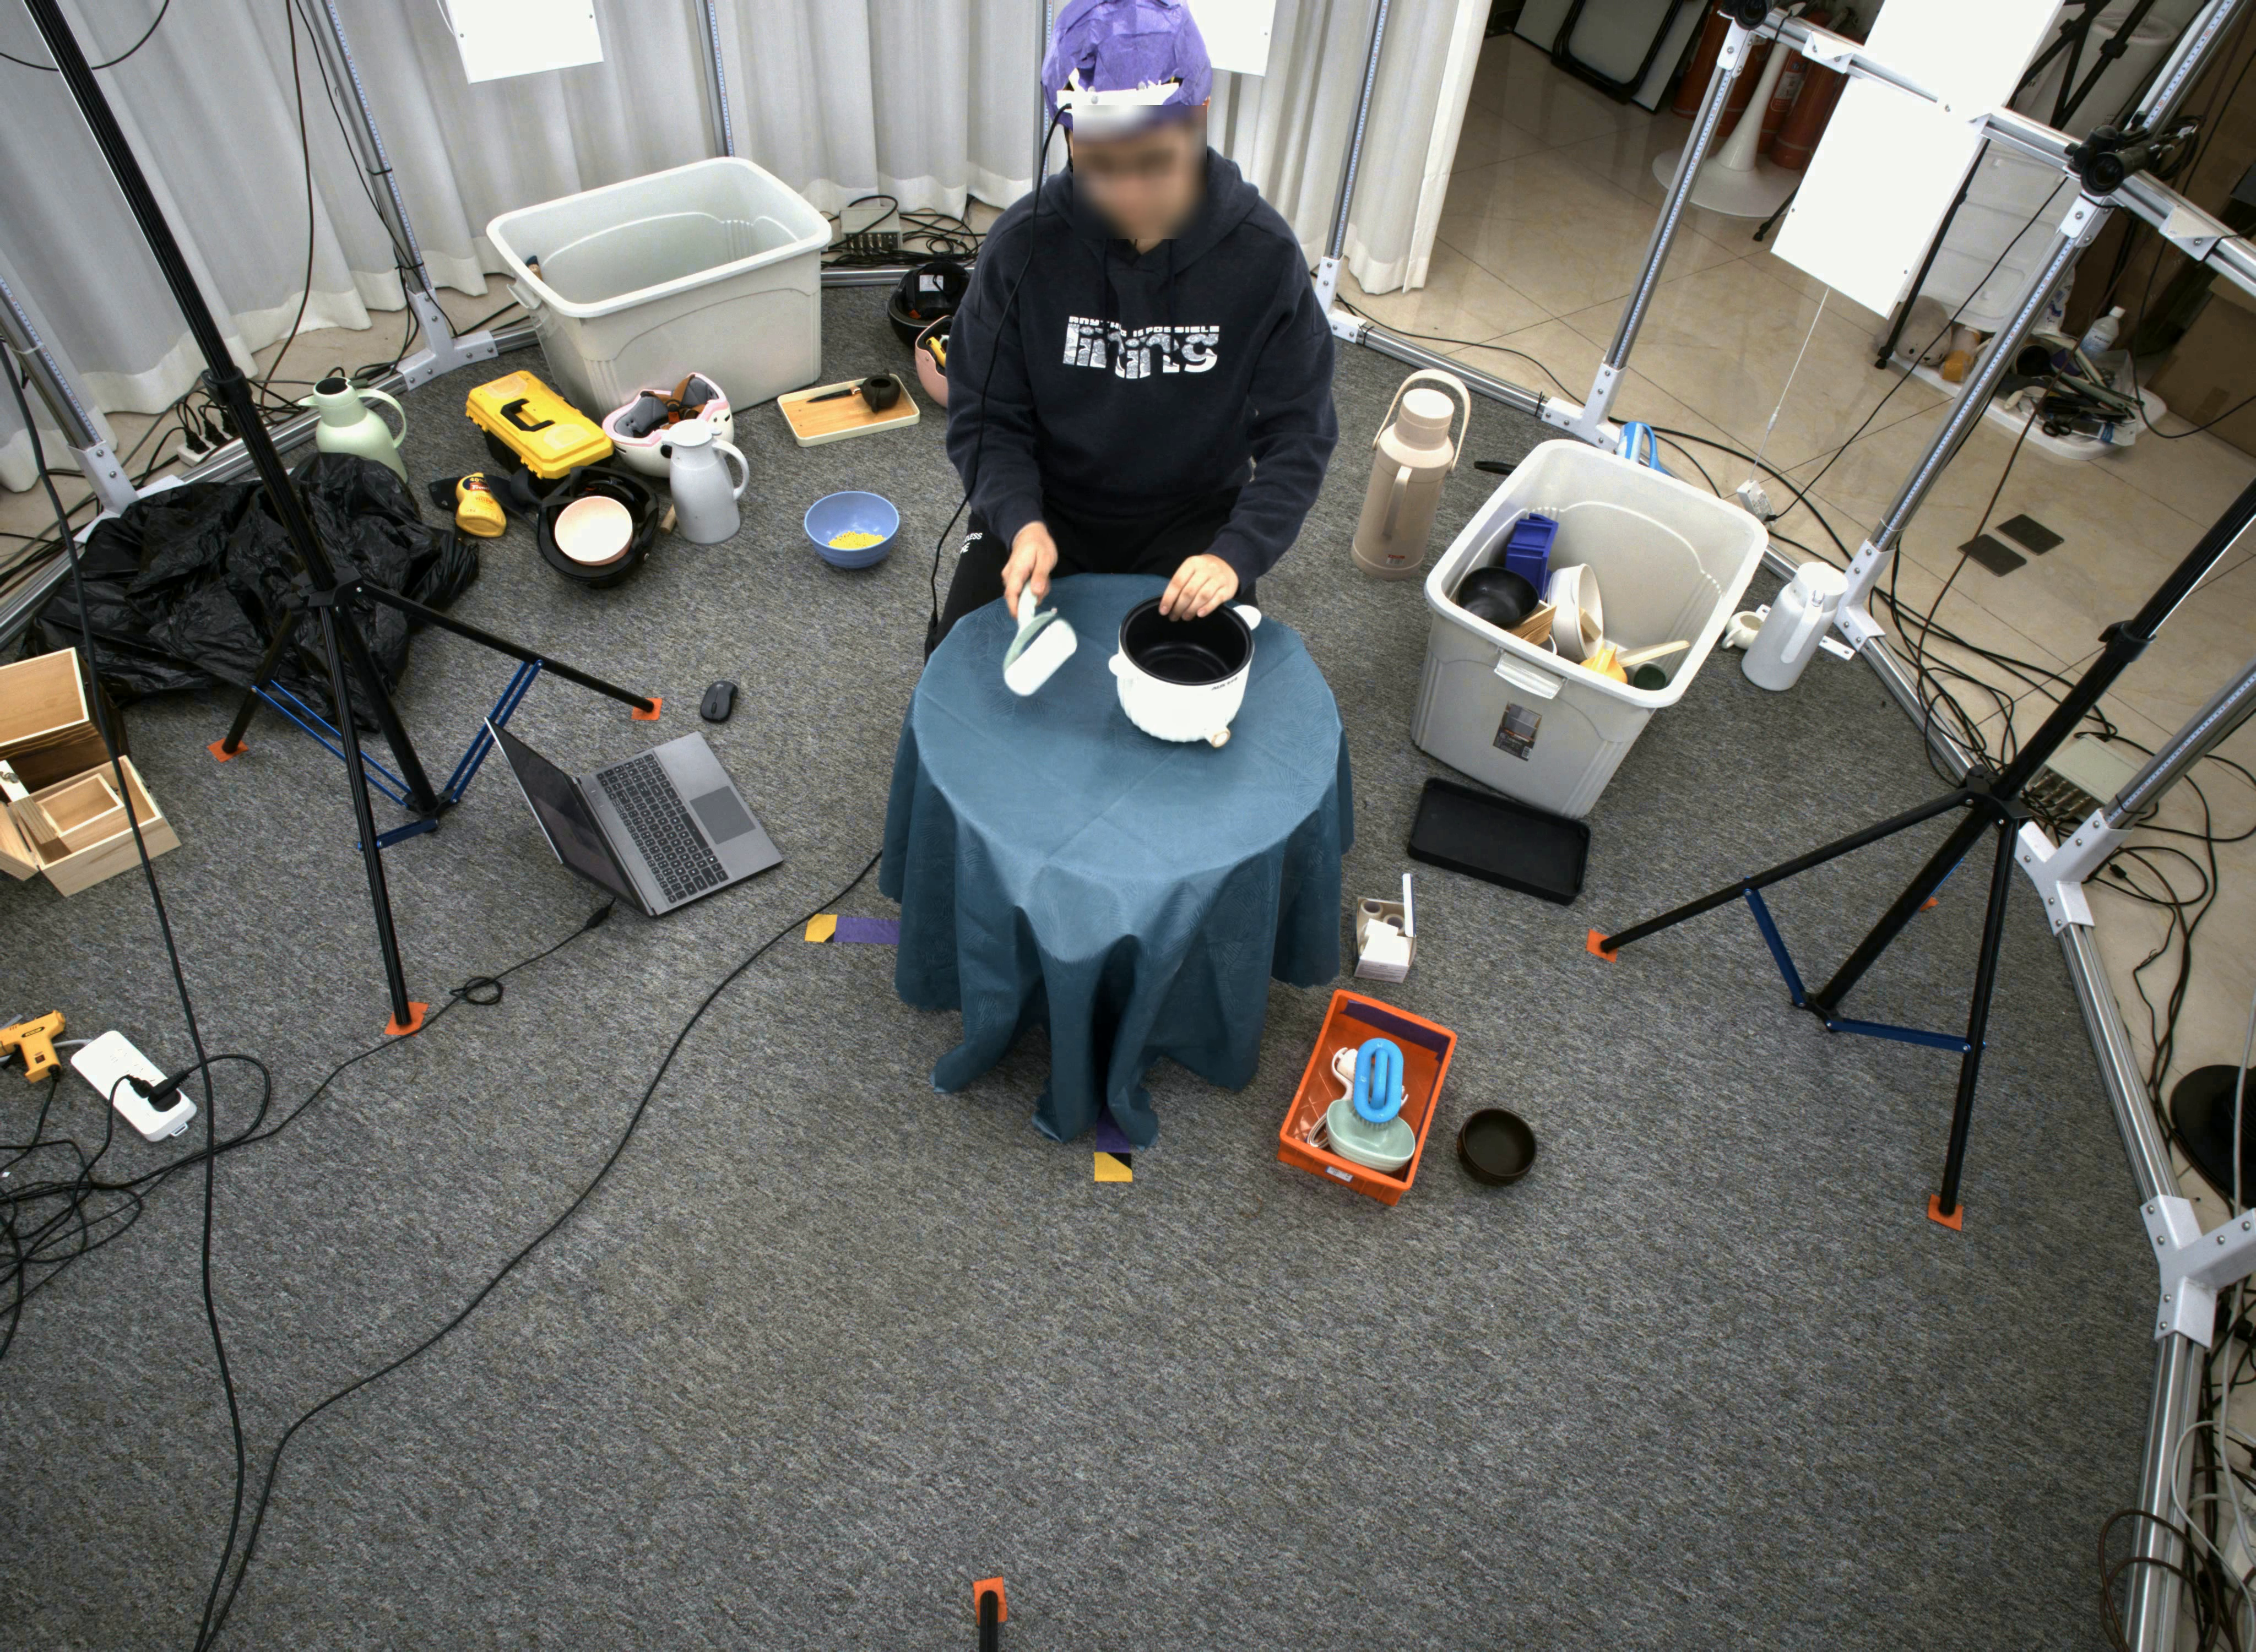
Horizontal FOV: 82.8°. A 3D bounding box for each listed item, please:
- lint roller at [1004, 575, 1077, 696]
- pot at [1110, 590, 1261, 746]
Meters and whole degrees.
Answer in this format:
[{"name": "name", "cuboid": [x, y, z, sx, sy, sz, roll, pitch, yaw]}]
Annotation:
[{"name": "lint roller", "cuboid": [-0.127, -0.283, 1.778, 0.048, 0.115, 0.202, 22, 44, -35]}, {"name": "pot", "cuboid": [0.080, -0.209, 1.764, 0.241, 0.139, 0.194, -25, 53, -22]}]
